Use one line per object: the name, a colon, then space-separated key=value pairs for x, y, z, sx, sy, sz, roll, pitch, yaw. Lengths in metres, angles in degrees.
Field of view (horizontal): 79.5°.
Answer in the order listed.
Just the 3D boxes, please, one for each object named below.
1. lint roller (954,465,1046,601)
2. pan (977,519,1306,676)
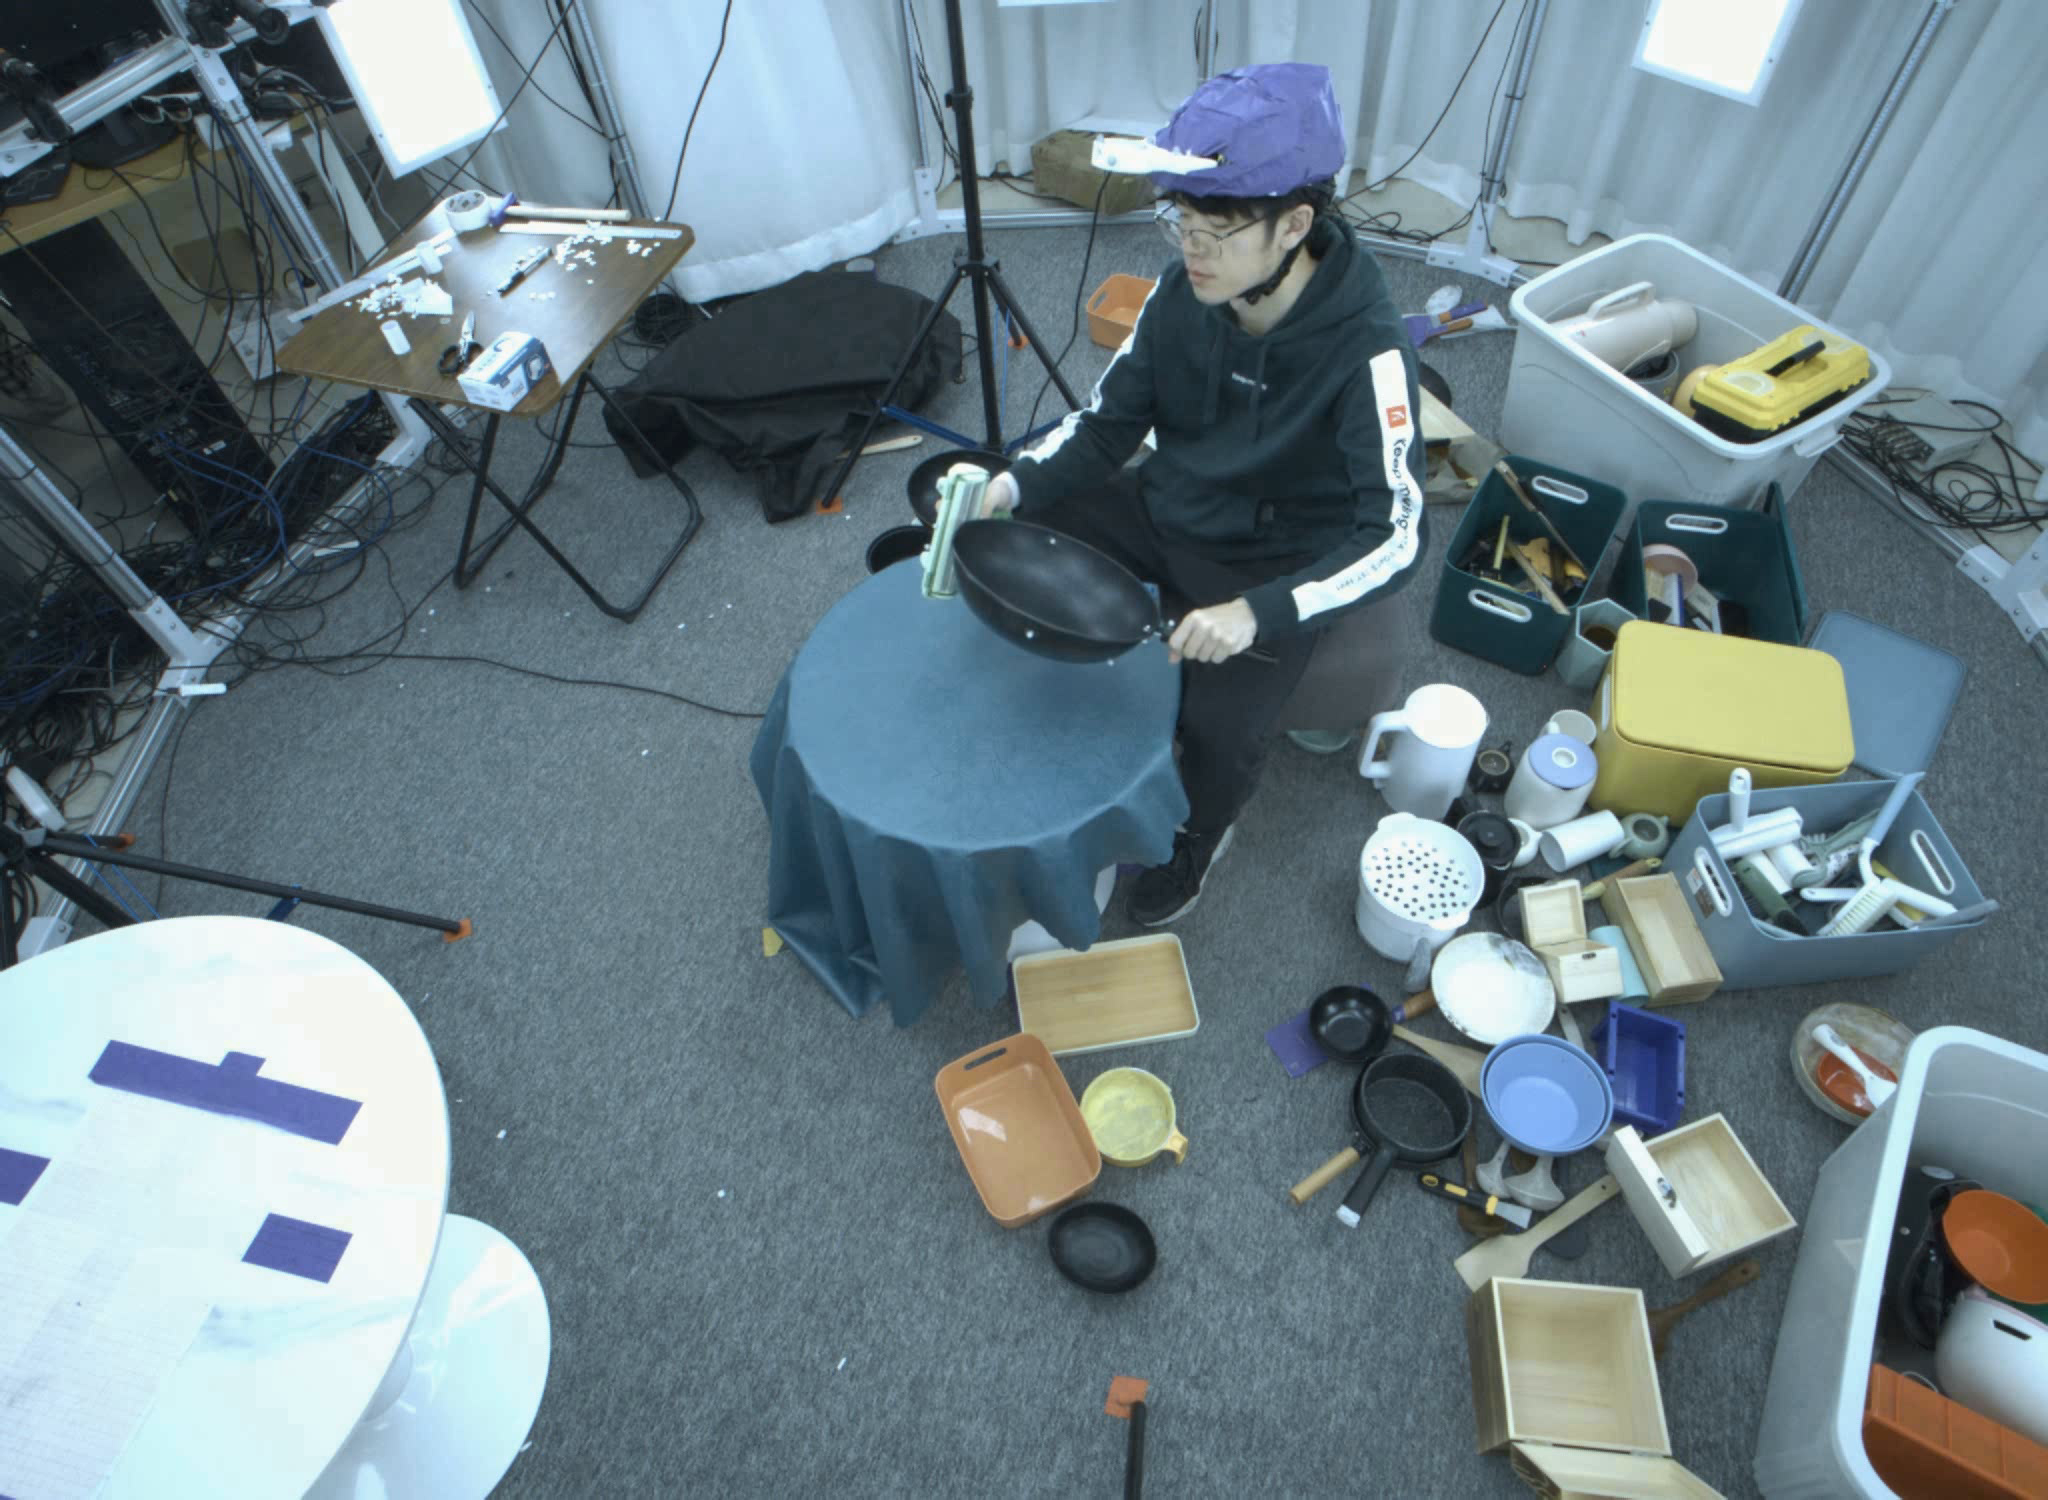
lint roller: x=-0.037 y=-0.332 z=1.790 sx=0.081 sy=0.199 sz=0.184 roll=24 pitch=31 yaw=12
pan: x=0.148 y=-0.172 z=1.687 sx=0.478 sy=0.111 sz=0.310 roll=26 pitch=33 yaw=-1
